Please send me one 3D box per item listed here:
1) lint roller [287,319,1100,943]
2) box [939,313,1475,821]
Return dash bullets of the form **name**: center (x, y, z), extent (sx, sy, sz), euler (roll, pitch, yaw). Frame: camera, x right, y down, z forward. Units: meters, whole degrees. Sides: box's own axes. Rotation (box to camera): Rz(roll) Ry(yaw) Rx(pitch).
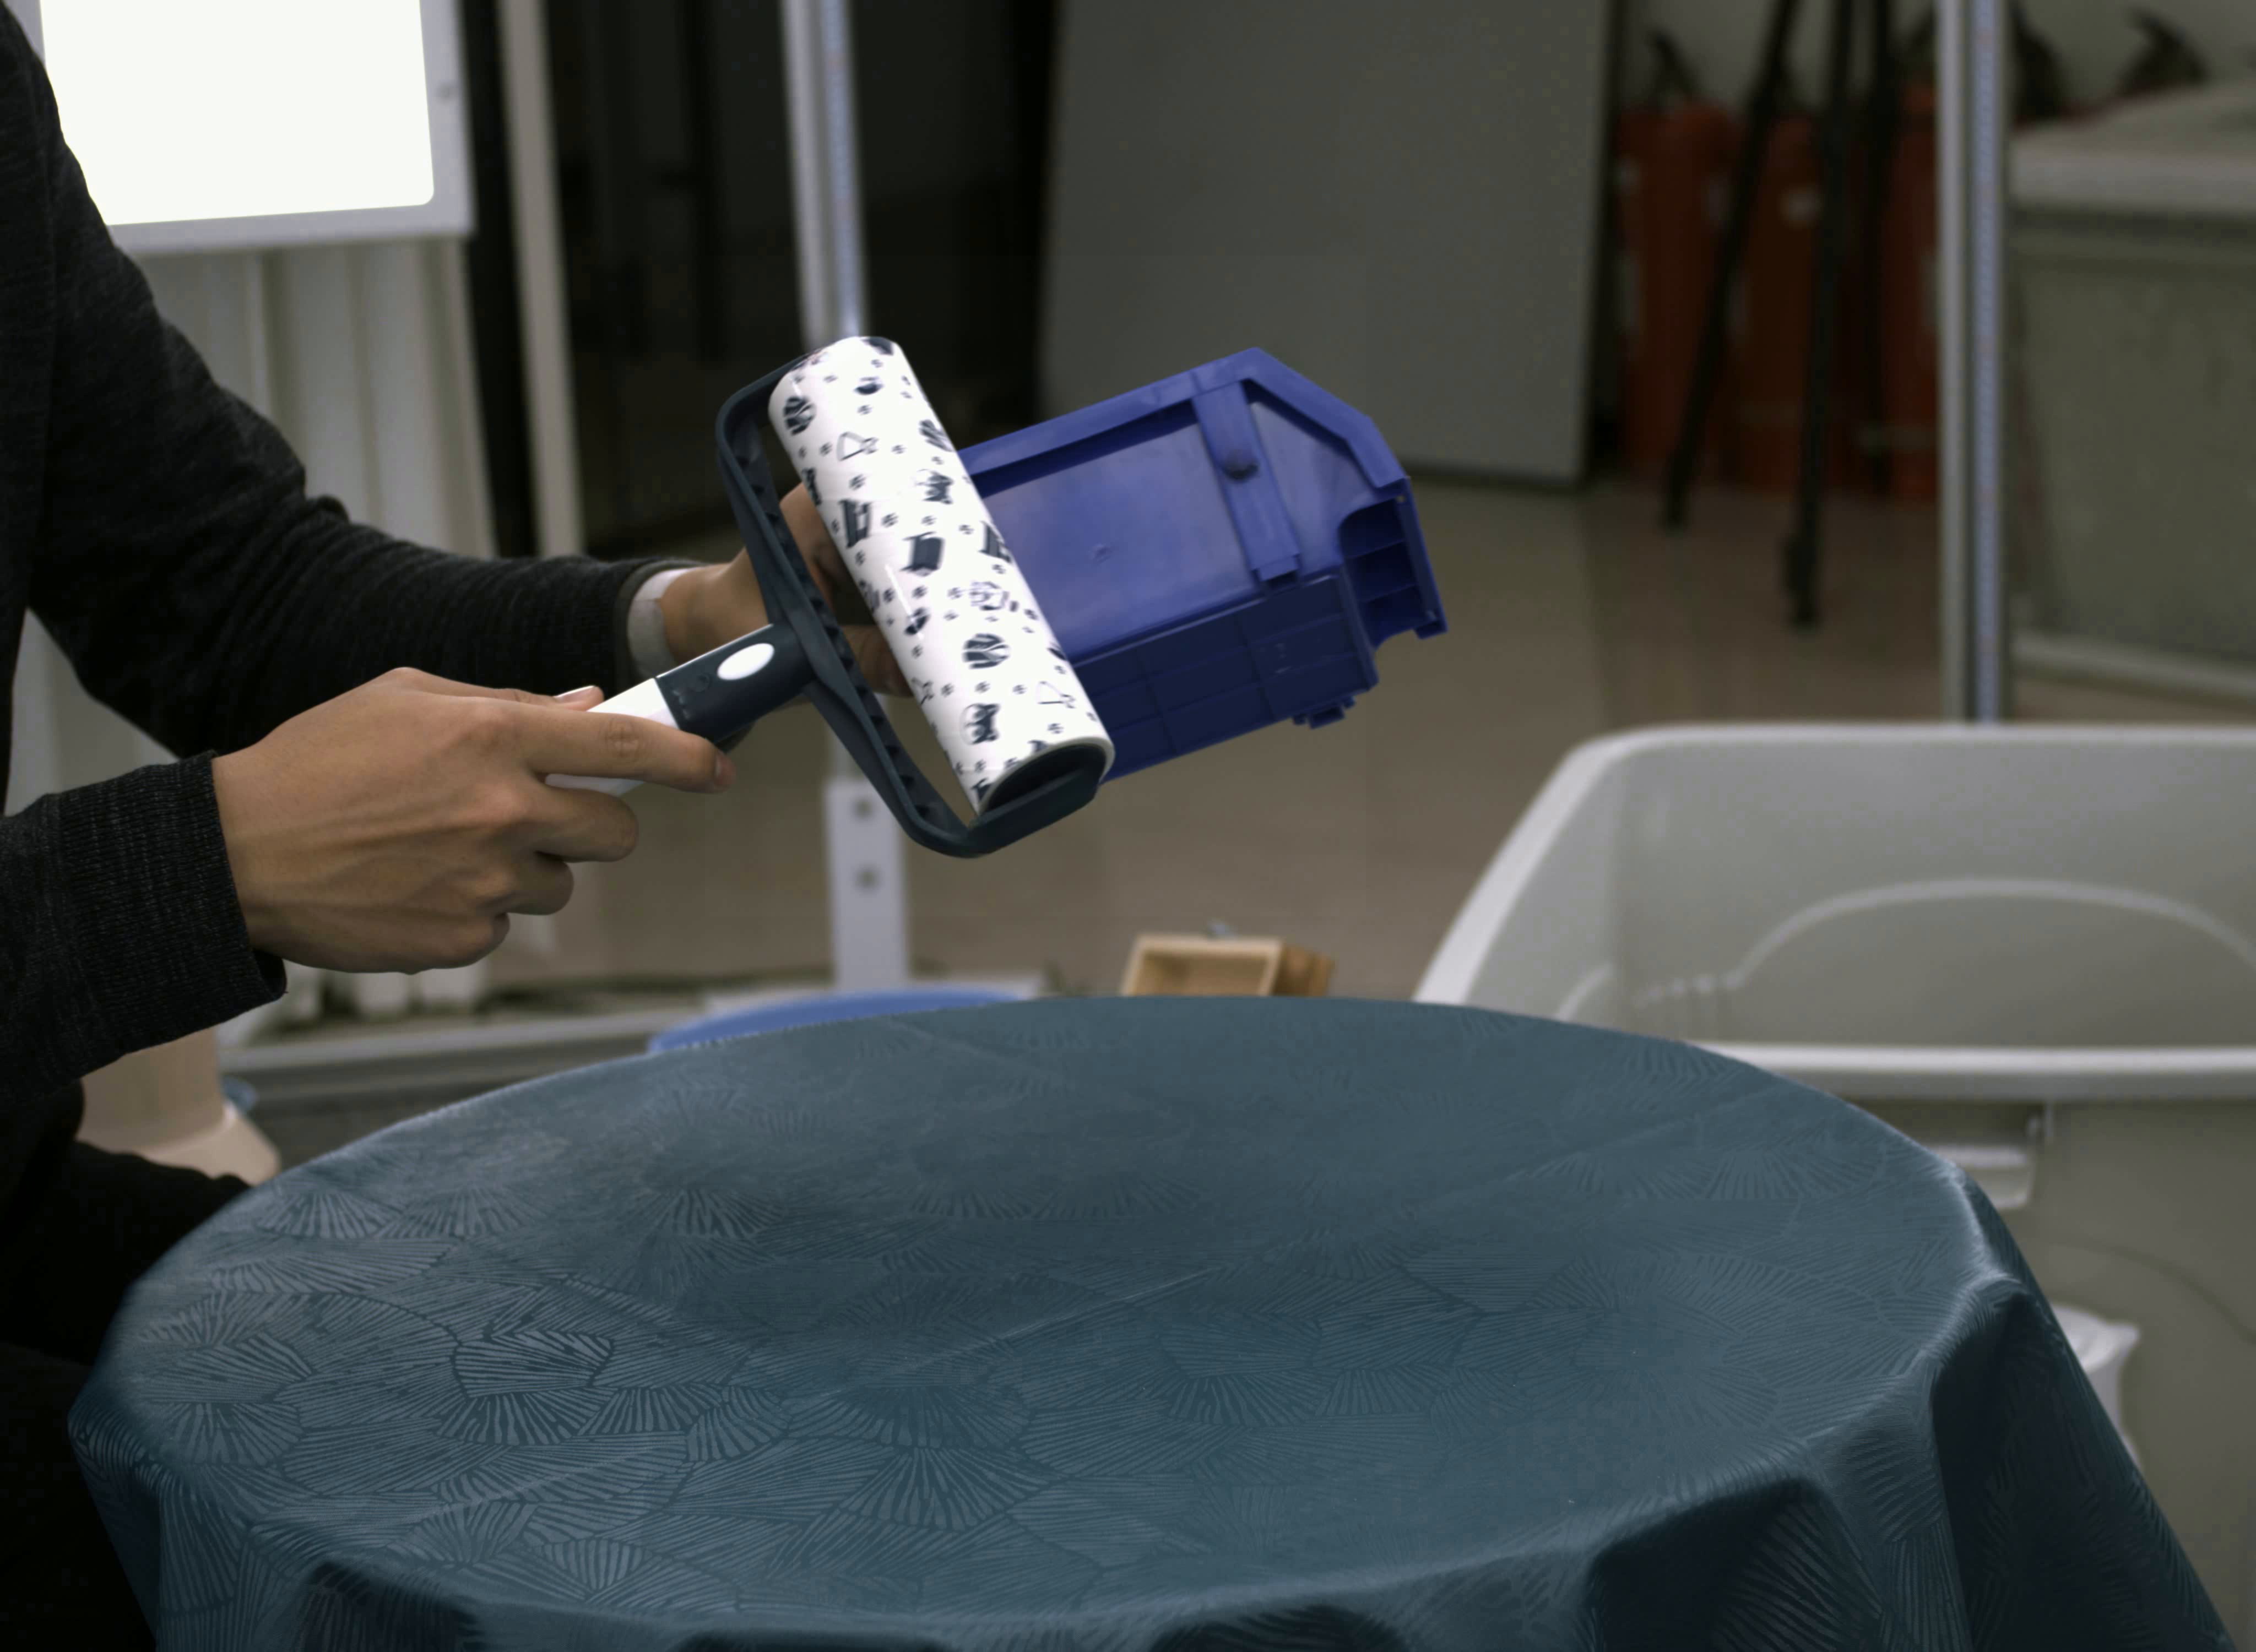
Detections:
- **lint roller**: center (-0.149, -0.032, 1.664), extent (0.245, 0.178, 0.050), euler (-28, -25, -3)
- **box**: center (0.016, -0.083, 1.748), extent (0.178, 0.083, 0.124), euler (-22, -26, 2)
